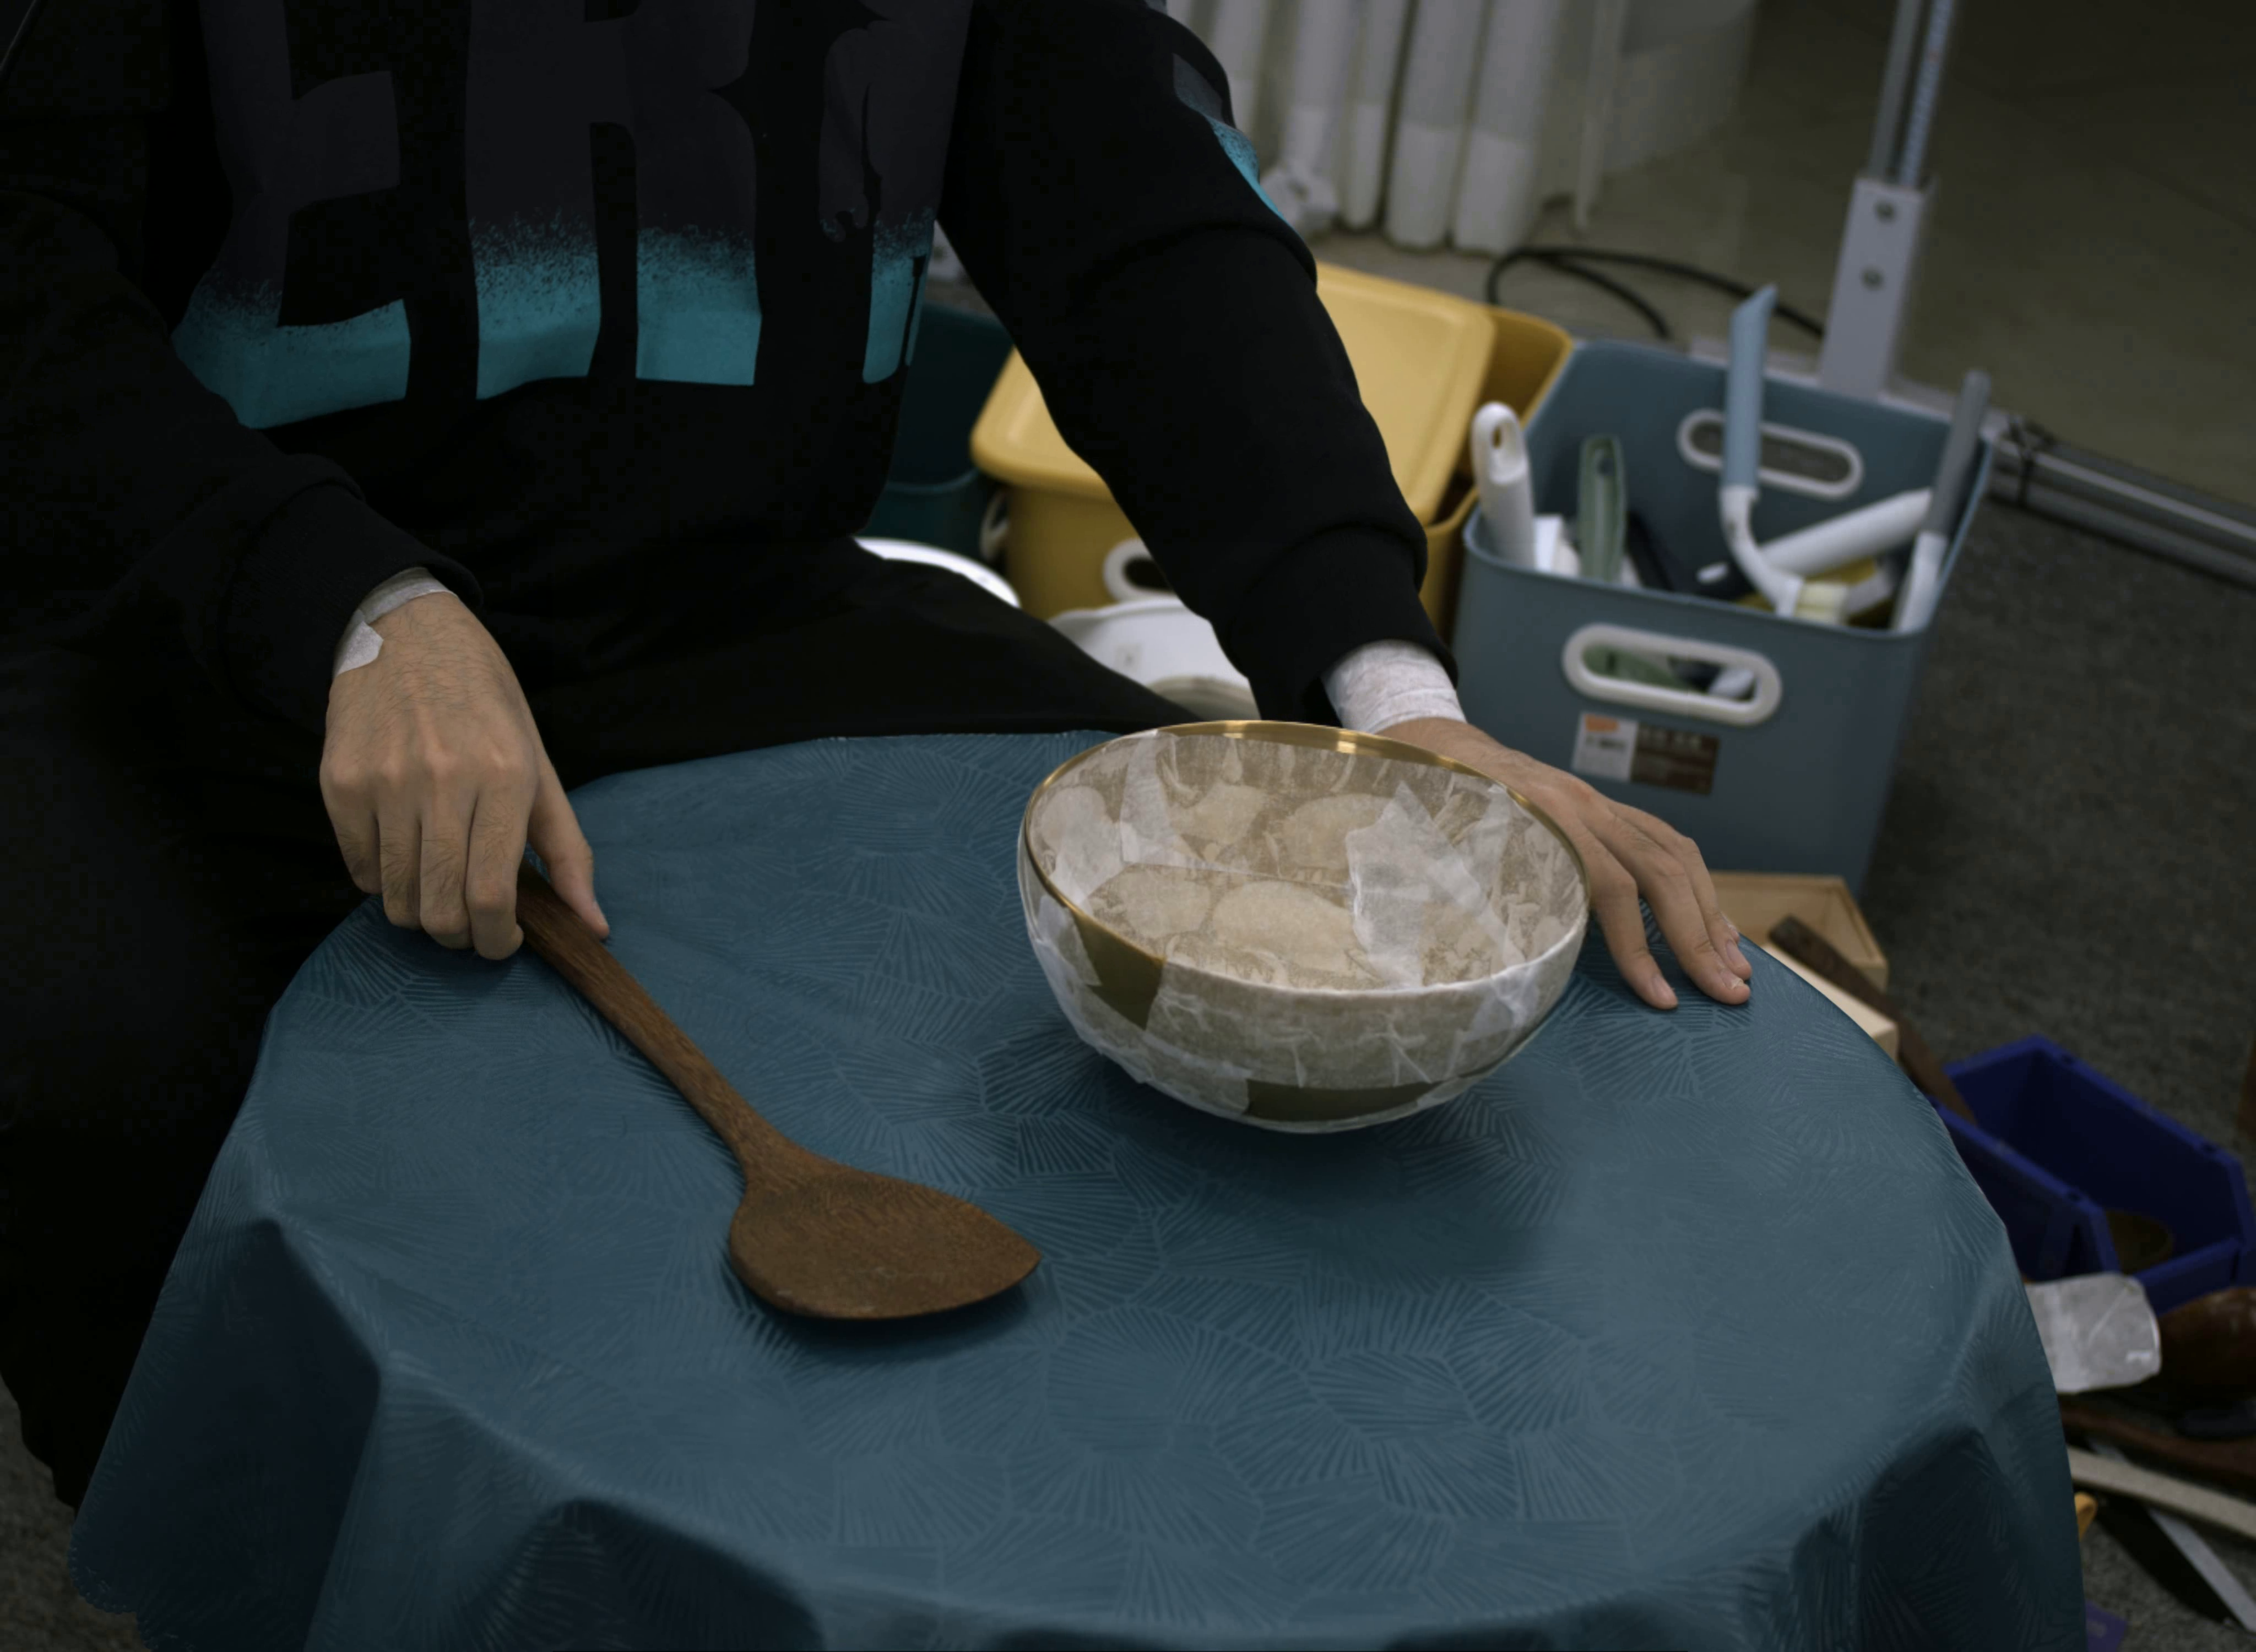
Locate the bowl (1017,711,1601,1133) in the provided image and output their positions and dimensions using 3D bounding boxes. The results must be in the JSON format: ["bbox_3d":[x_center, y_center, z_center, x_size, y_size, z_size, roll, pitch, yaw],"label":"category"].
[{"bbox_3d":[0.060,0.046,1.864,0.214,0.094,0.216,4,27,-2],"label":"bowl"}]

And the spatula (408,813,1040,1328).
[{"bbox_3d":[-0.161,0.076,1.843,0.095,0.016,0.389,-10,31,-31],"label":"spatula"}]
